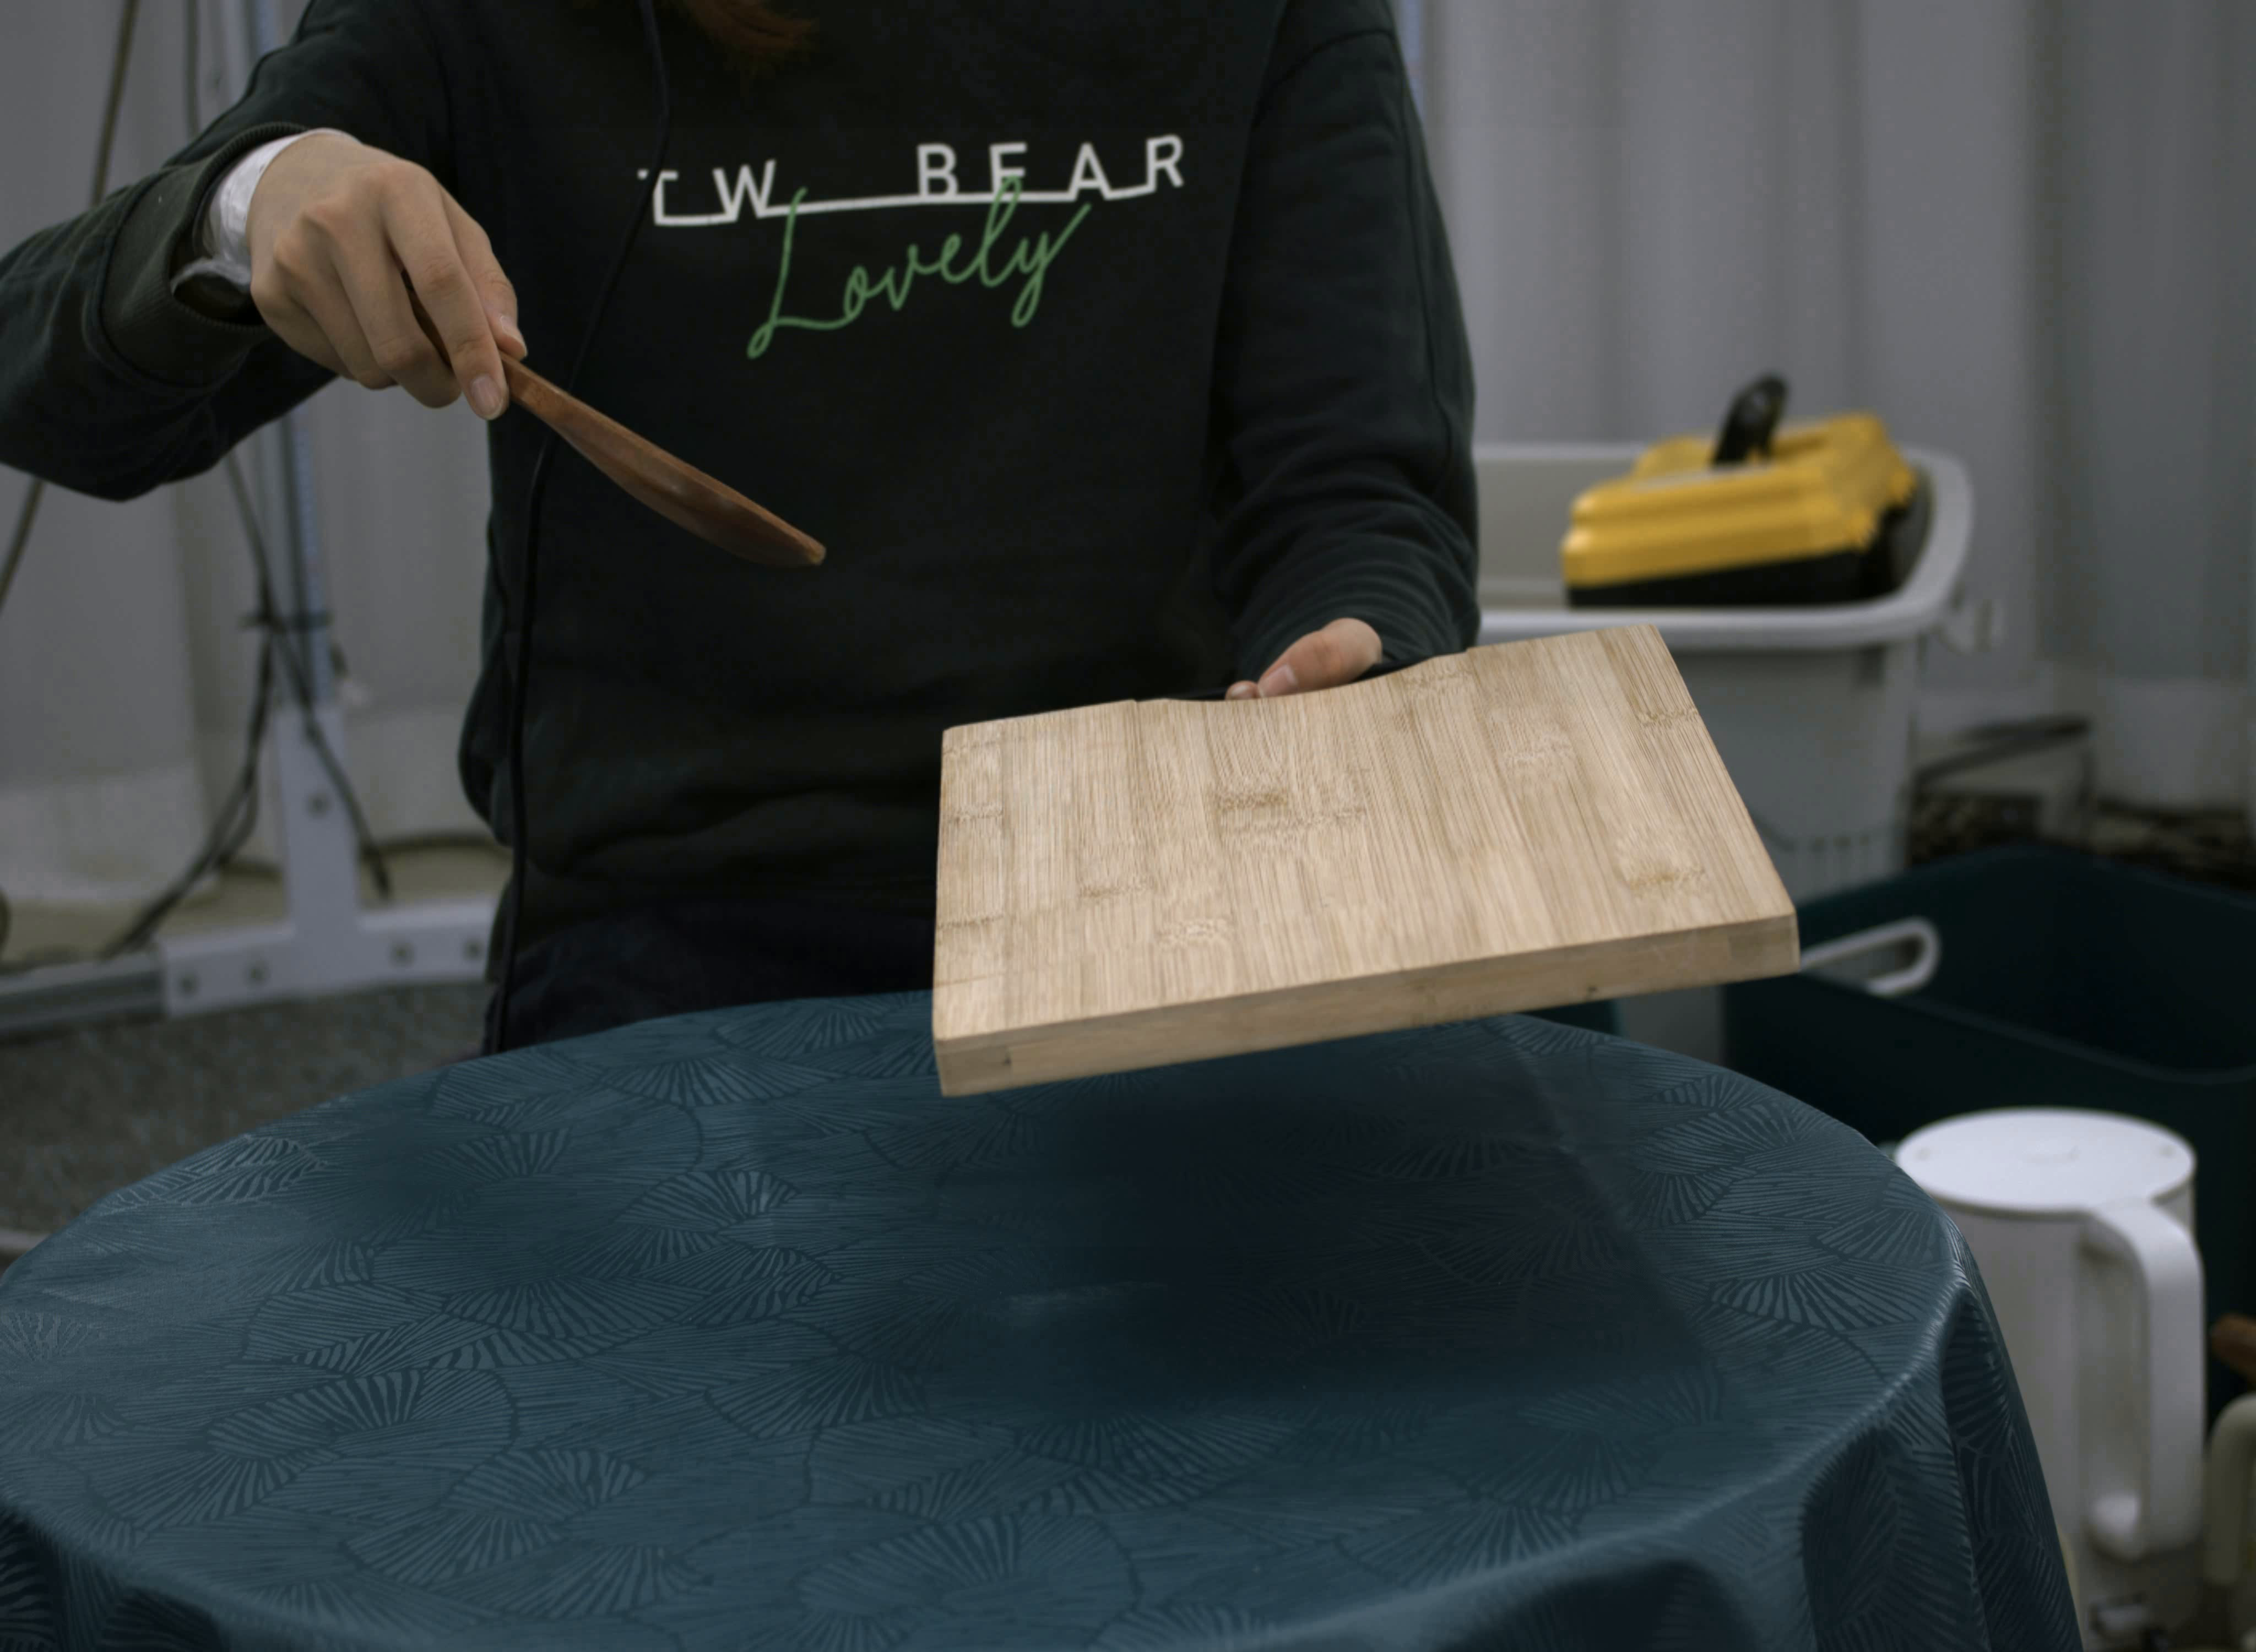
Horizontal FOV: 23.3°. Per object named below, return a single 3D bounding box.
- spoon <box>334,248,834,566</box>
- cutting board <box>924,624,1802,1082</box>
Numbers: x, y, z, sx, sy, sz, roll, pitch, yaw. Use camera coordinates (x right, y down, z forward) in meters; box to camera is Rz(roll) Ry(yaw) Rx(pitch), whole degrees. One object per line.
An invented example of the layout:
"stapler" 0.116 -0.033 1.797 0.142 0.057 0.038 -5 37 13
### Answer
"spoon" -0.172 -0.127 1.677 0.218 0.017 0.075 34 8 35
"cutting board" 0.062 0.003 1.664 0.250 0.023 0.351 -8 15 0
